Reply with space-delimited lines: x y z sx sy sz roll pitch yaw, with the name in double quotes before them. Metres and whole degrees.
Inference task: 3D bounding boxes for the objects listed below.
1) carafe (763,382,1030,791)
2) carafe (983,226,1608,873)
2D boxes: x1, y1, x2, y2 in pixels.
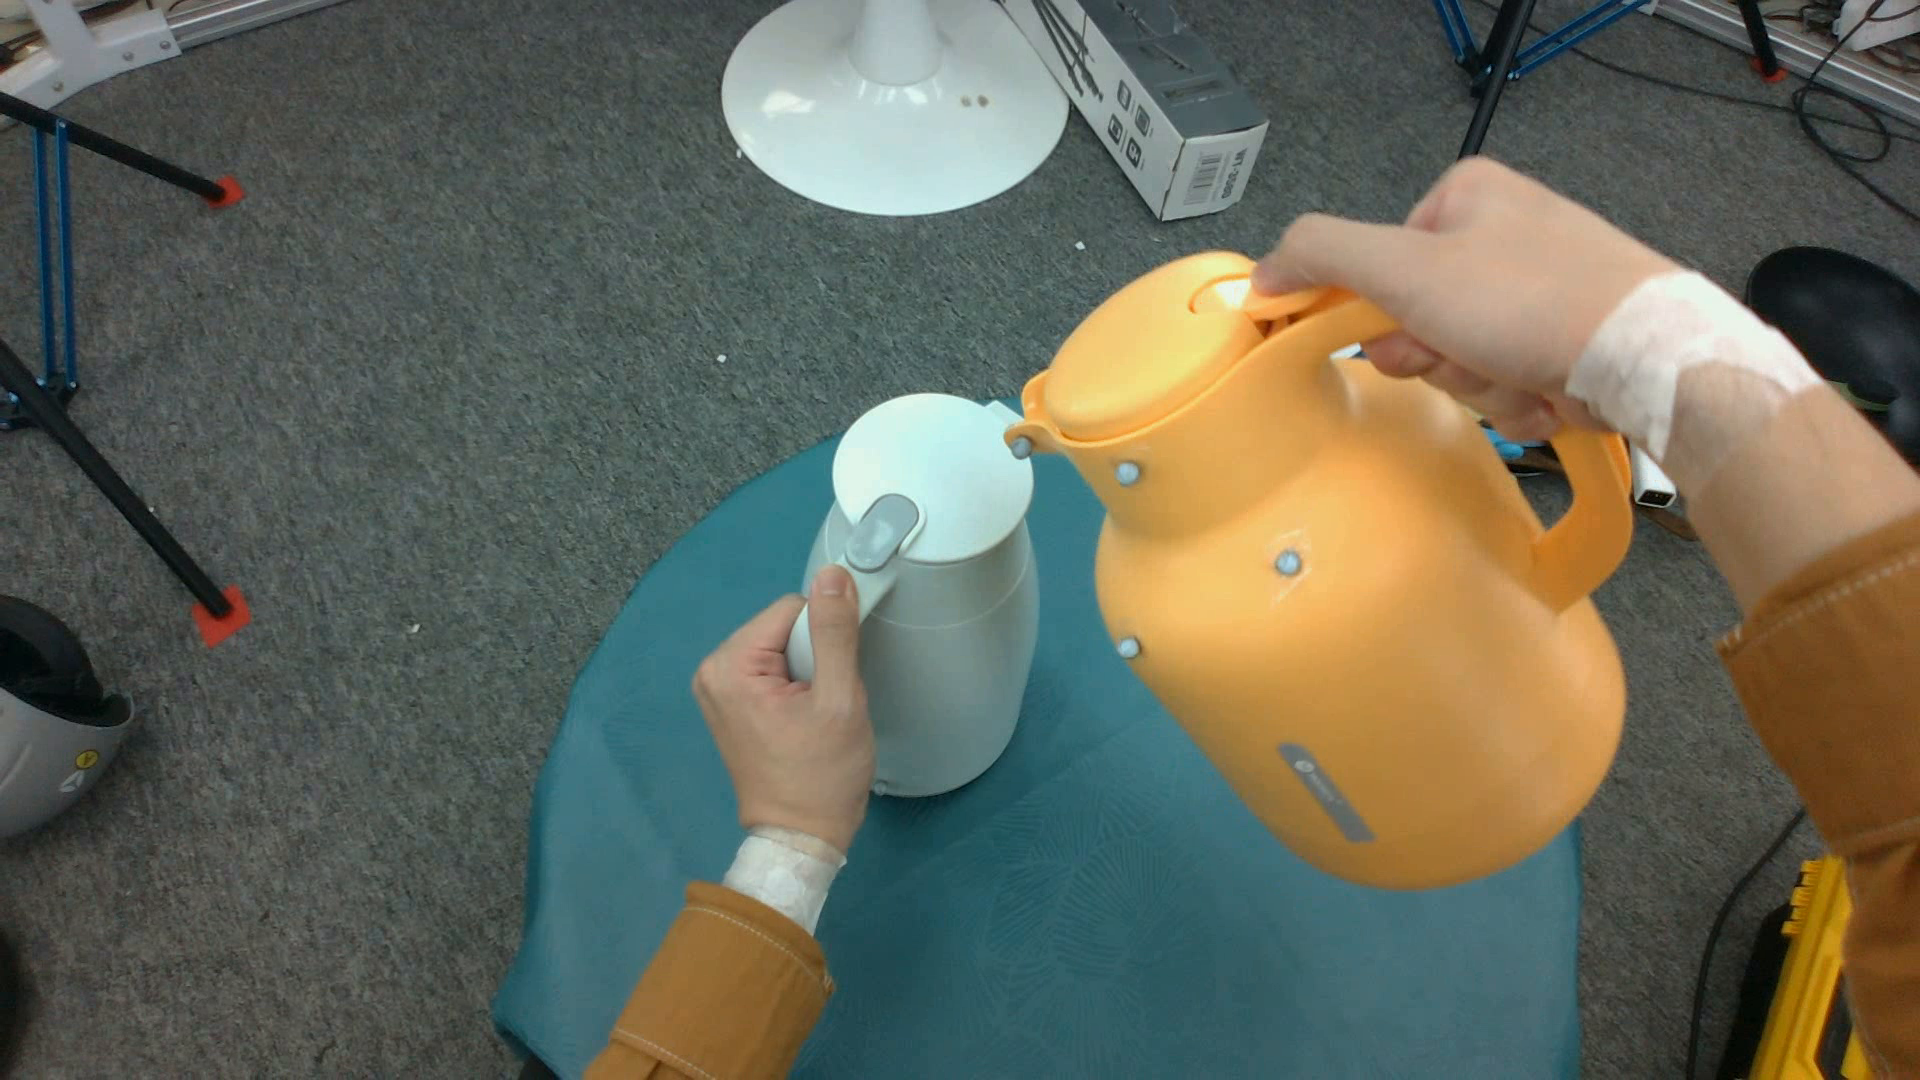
"carafe" -0.036 0.038 0.710 0.132 0.247 0.168 34 62 14
"carafe" 0.144 -0.001 0.527 0.201 0.260 0.164 -19 36 40
